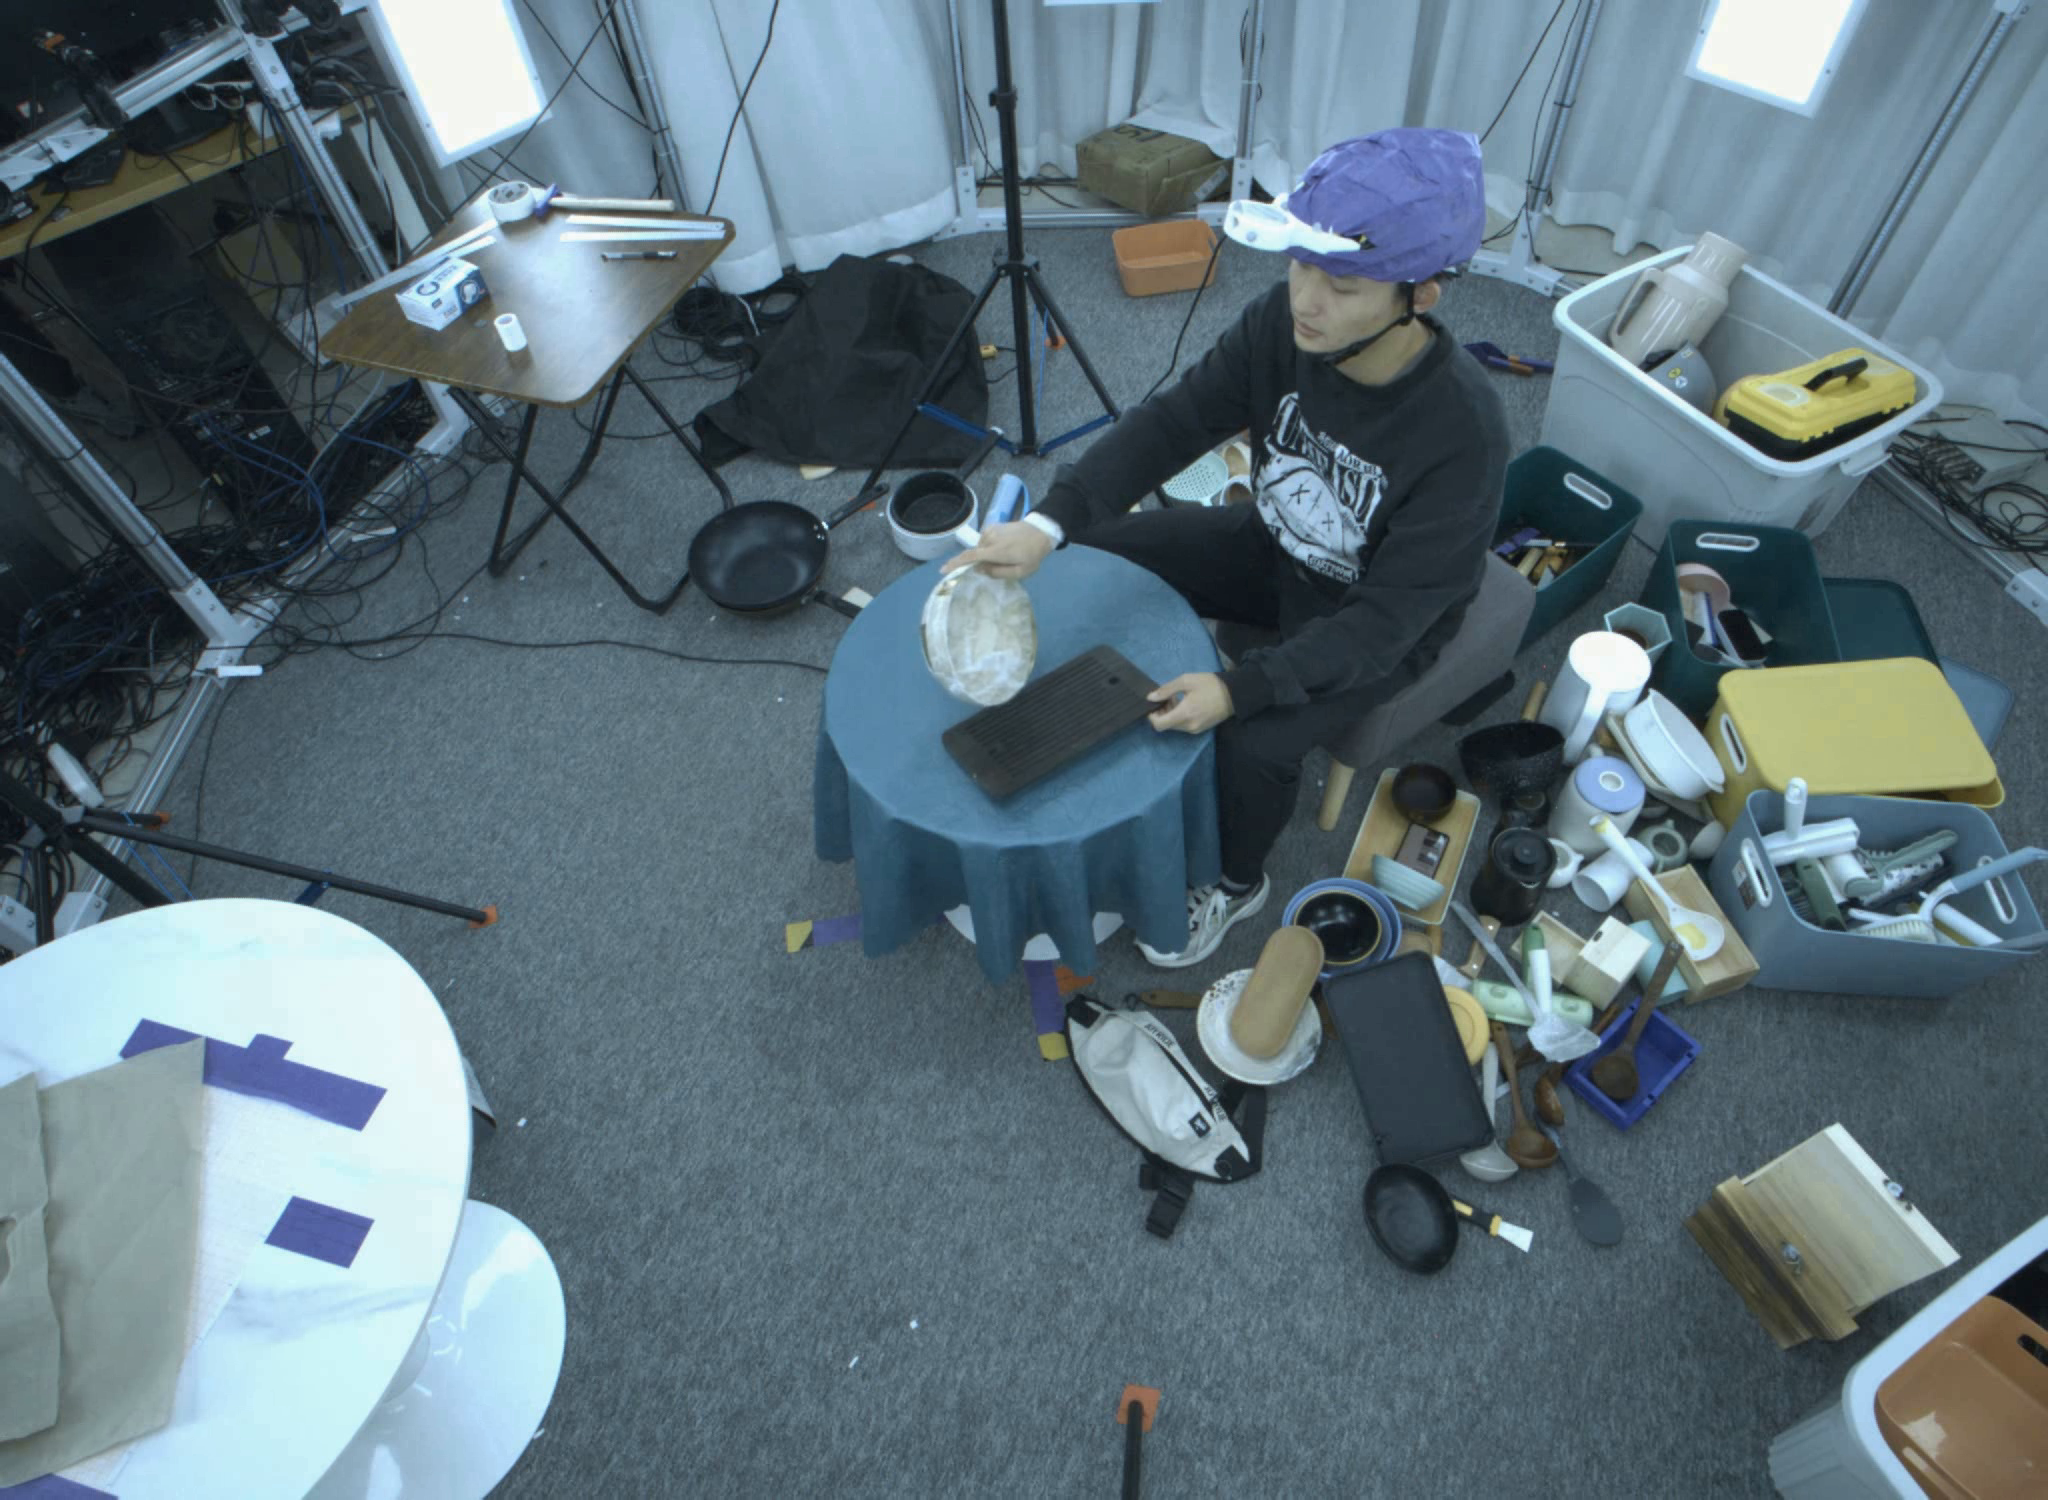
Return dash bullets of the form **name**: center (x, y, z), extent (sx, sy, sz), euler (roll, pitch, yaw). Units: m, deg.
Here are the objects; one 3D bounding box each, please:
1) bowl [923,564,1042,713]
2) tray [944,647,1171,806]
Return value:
- **bowl**: center (-0.072, -0.153, 1.713), extent (0.092, 0.219, 0.214), euler (1, 51, 37)
- **tray**: center (0.049, -0.037, 1.795), extent (0.308, 0.019, 0.166), euler (-30, 49, -18)
